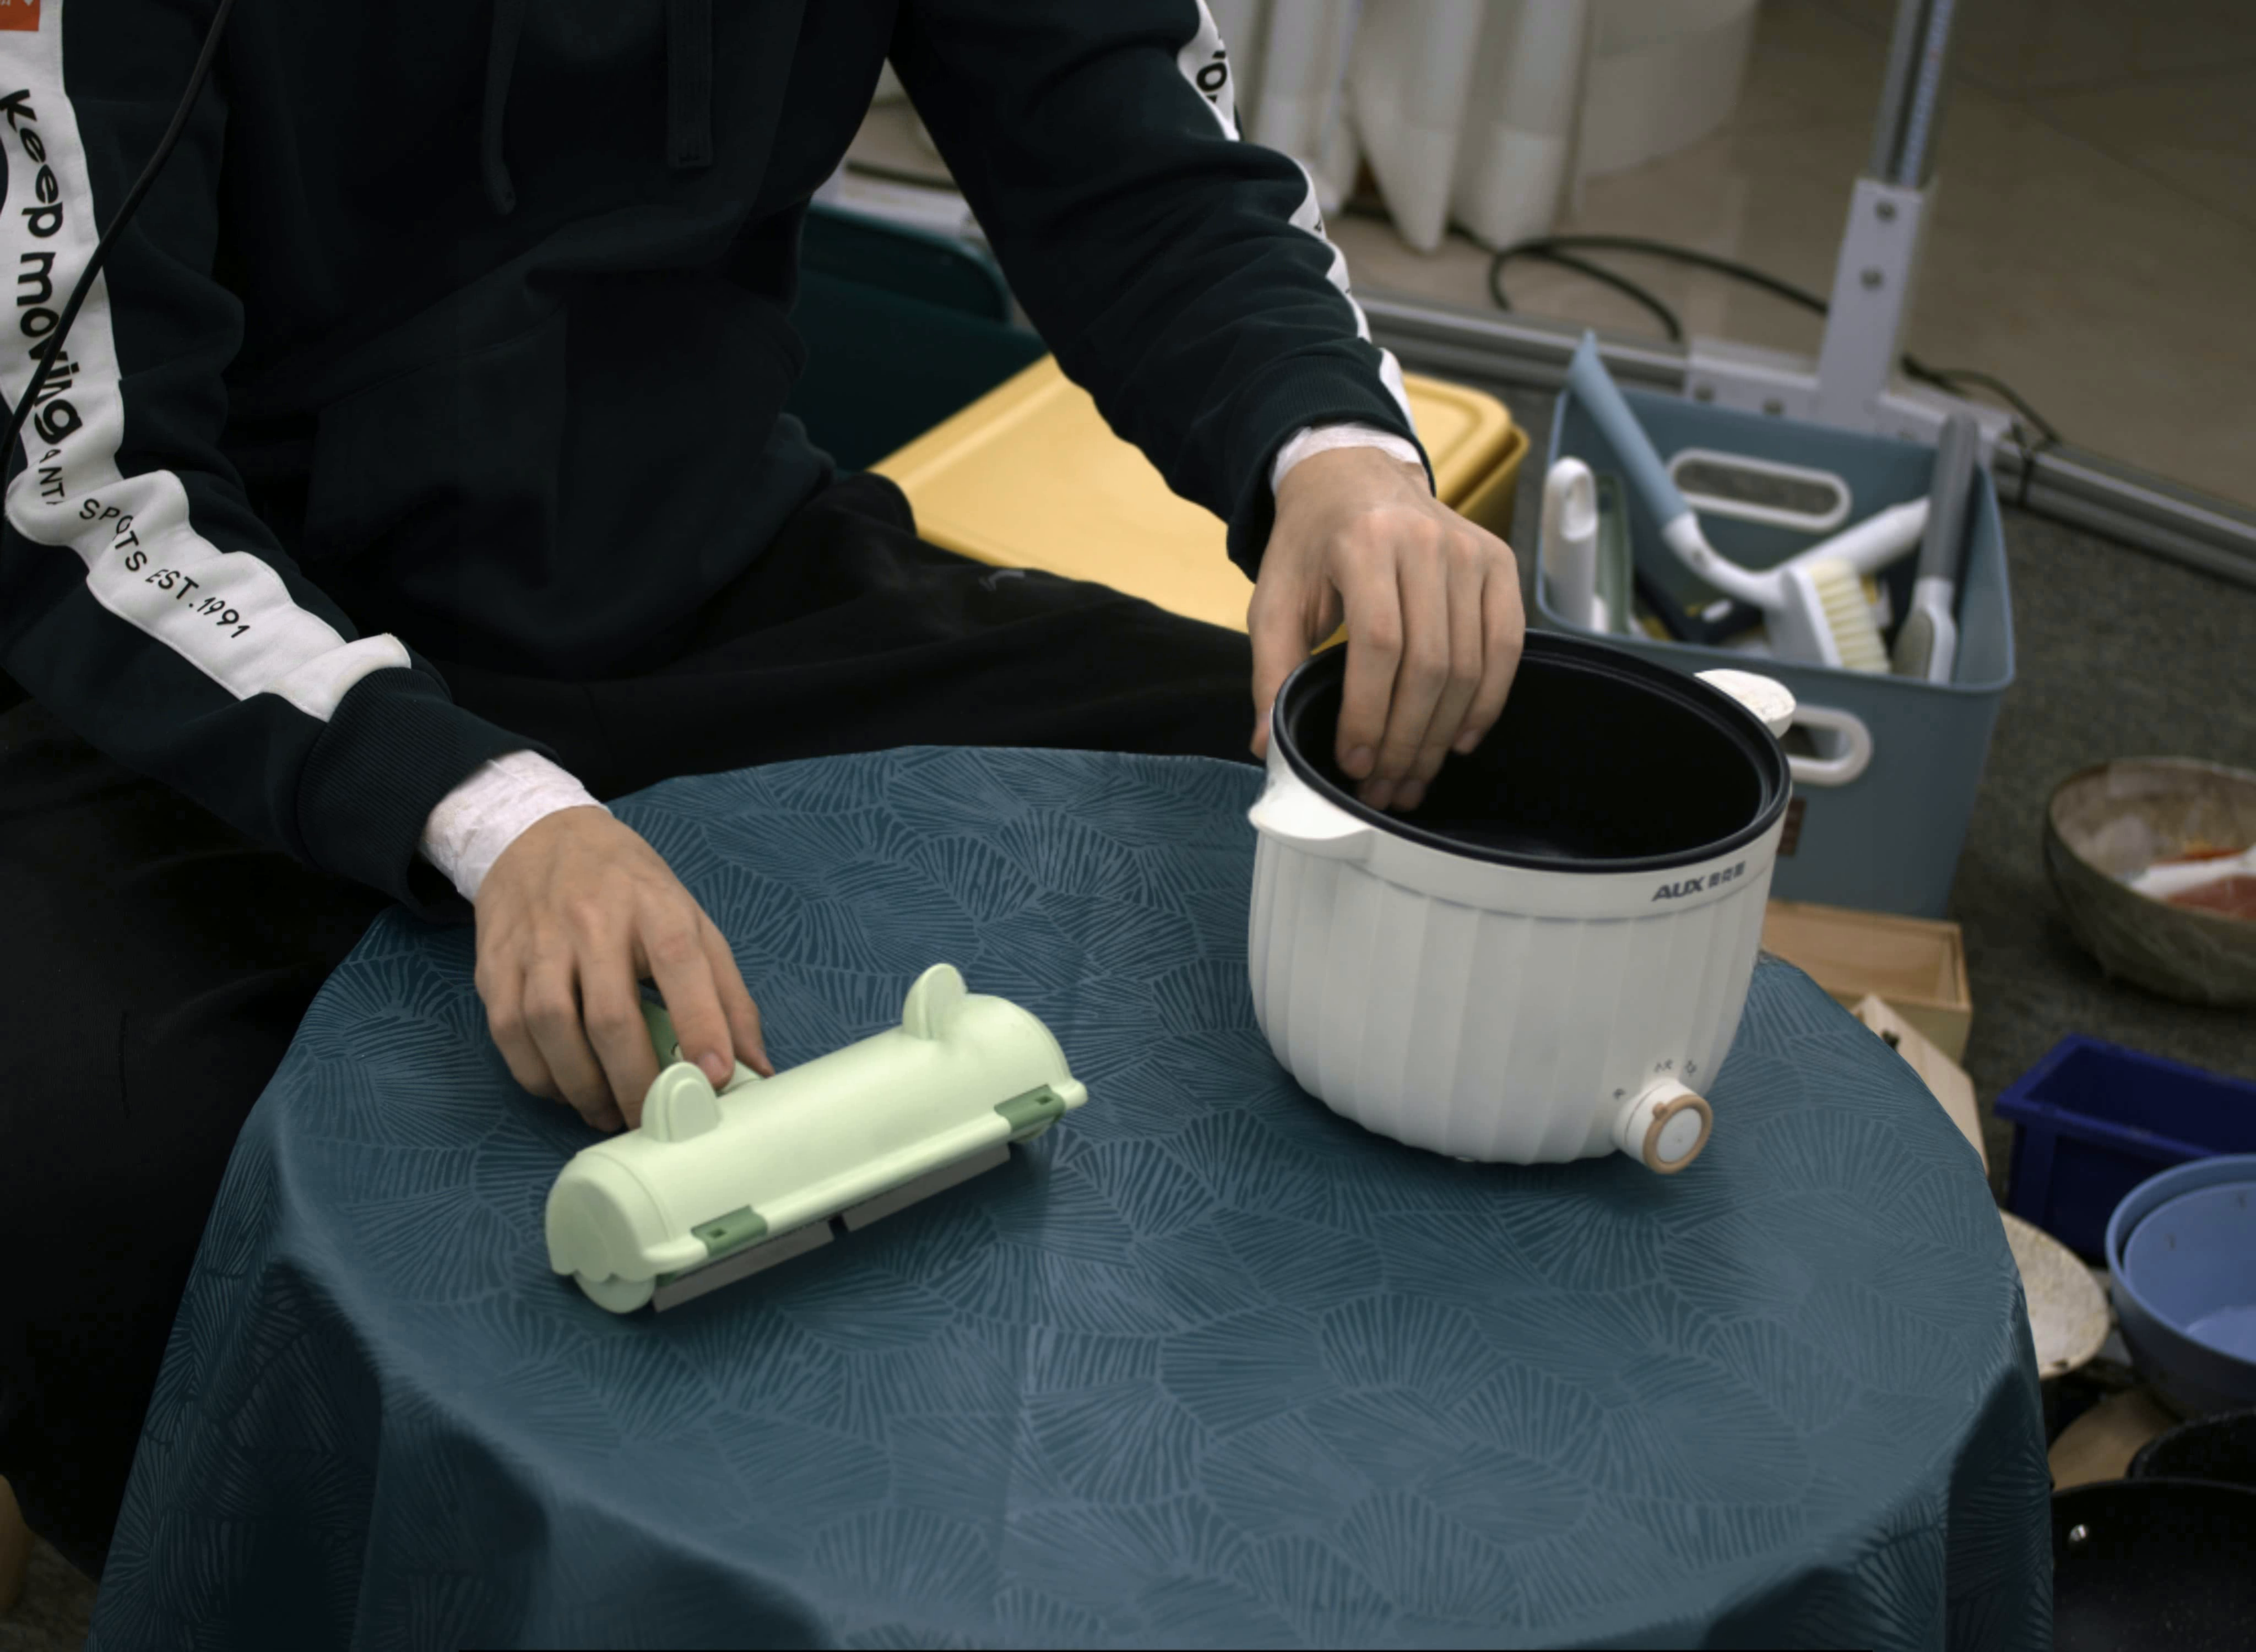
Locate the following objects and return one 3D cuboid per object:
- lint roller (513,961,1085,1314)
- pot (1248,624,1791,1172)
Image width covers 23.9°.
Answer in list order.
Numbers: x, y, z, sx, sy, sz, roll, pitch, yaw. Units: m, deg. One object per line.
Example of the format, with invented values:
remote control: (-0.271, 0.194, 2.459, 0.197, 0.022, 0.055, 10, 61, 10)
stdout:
lint roller: (-0.141, 0.075, 1.780, 0.197, 0.082, 0.185, -20, 42, -41)
pot: (0.137, 0.031, 1.860, 0.239, 0.142, 0.192, -16, 31, -35)
